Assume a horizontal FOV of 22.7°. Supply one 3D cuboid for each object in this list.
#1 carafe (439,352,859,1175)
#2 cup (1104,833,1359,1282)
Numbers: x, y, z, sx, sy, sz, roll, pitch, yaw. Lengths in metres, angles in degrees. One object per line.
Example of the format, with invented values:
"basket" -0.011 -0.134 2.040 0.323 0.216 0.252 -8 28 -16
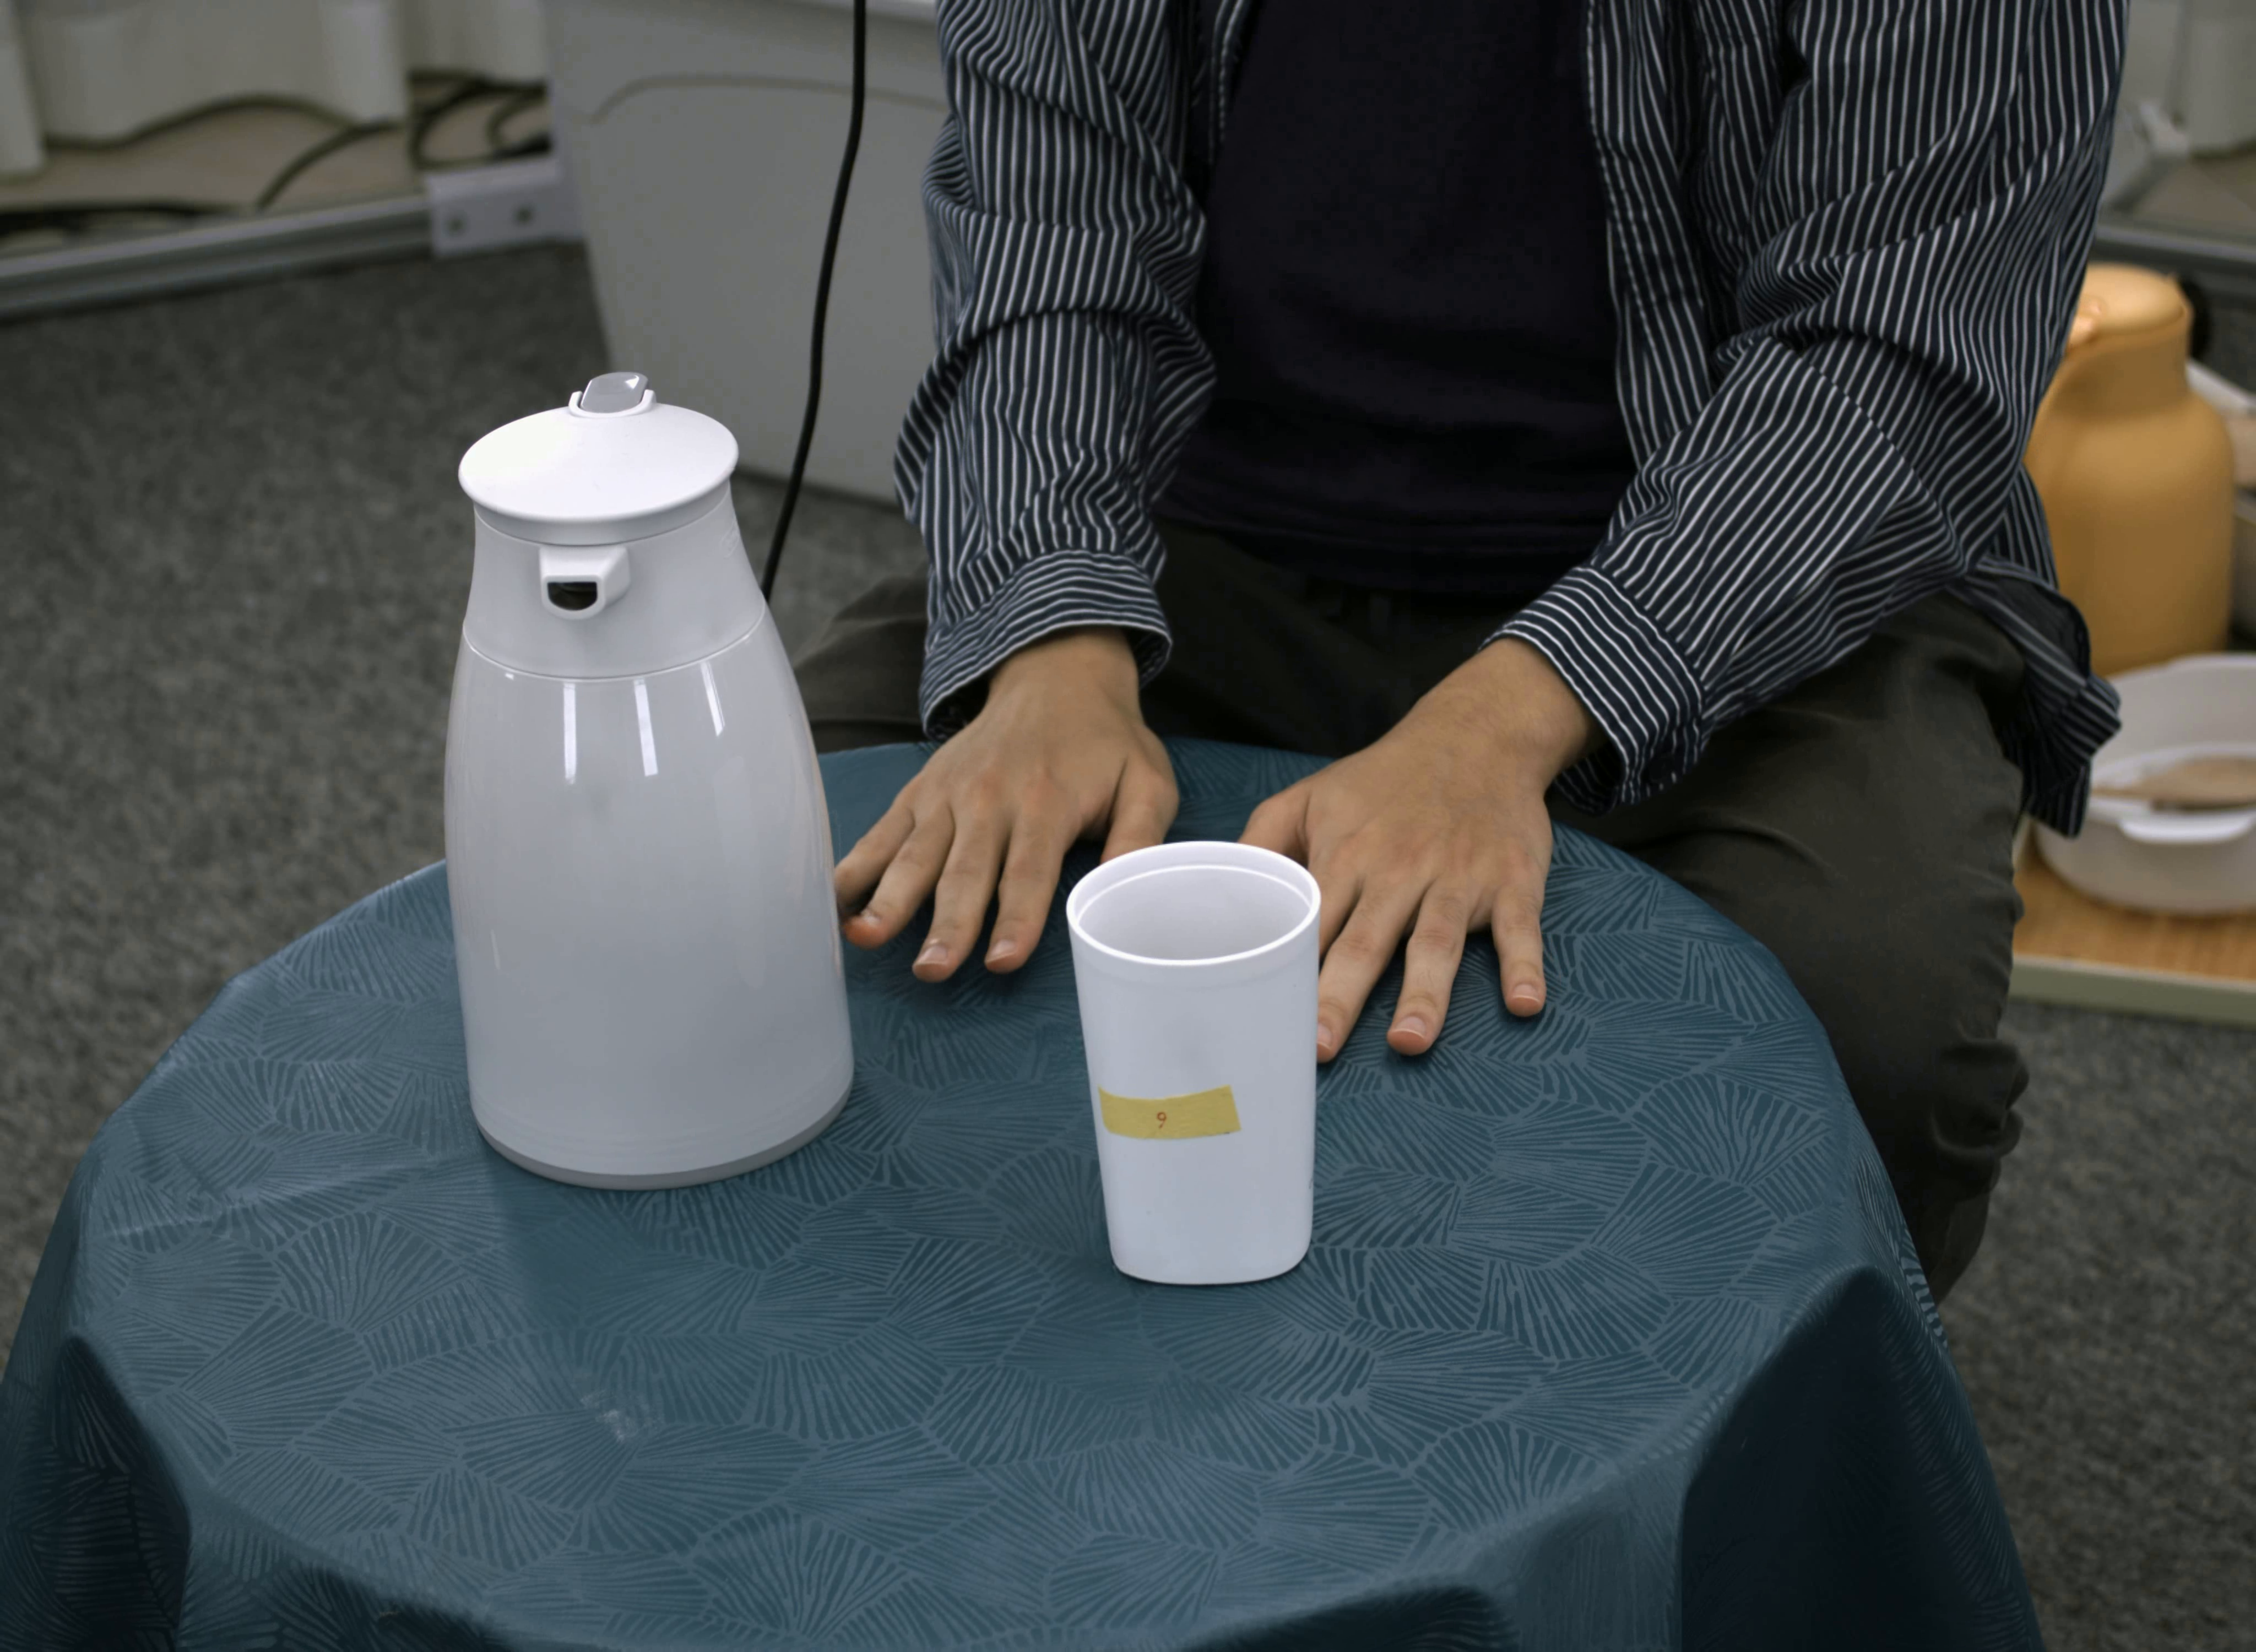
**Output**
"carafe" -0.169 -0.031 1.892 0.132 0.246 0.170 -6 28 0
"cup" 0.037 0.077 1.799 0.081 0.124 0.083 -3 26 2
